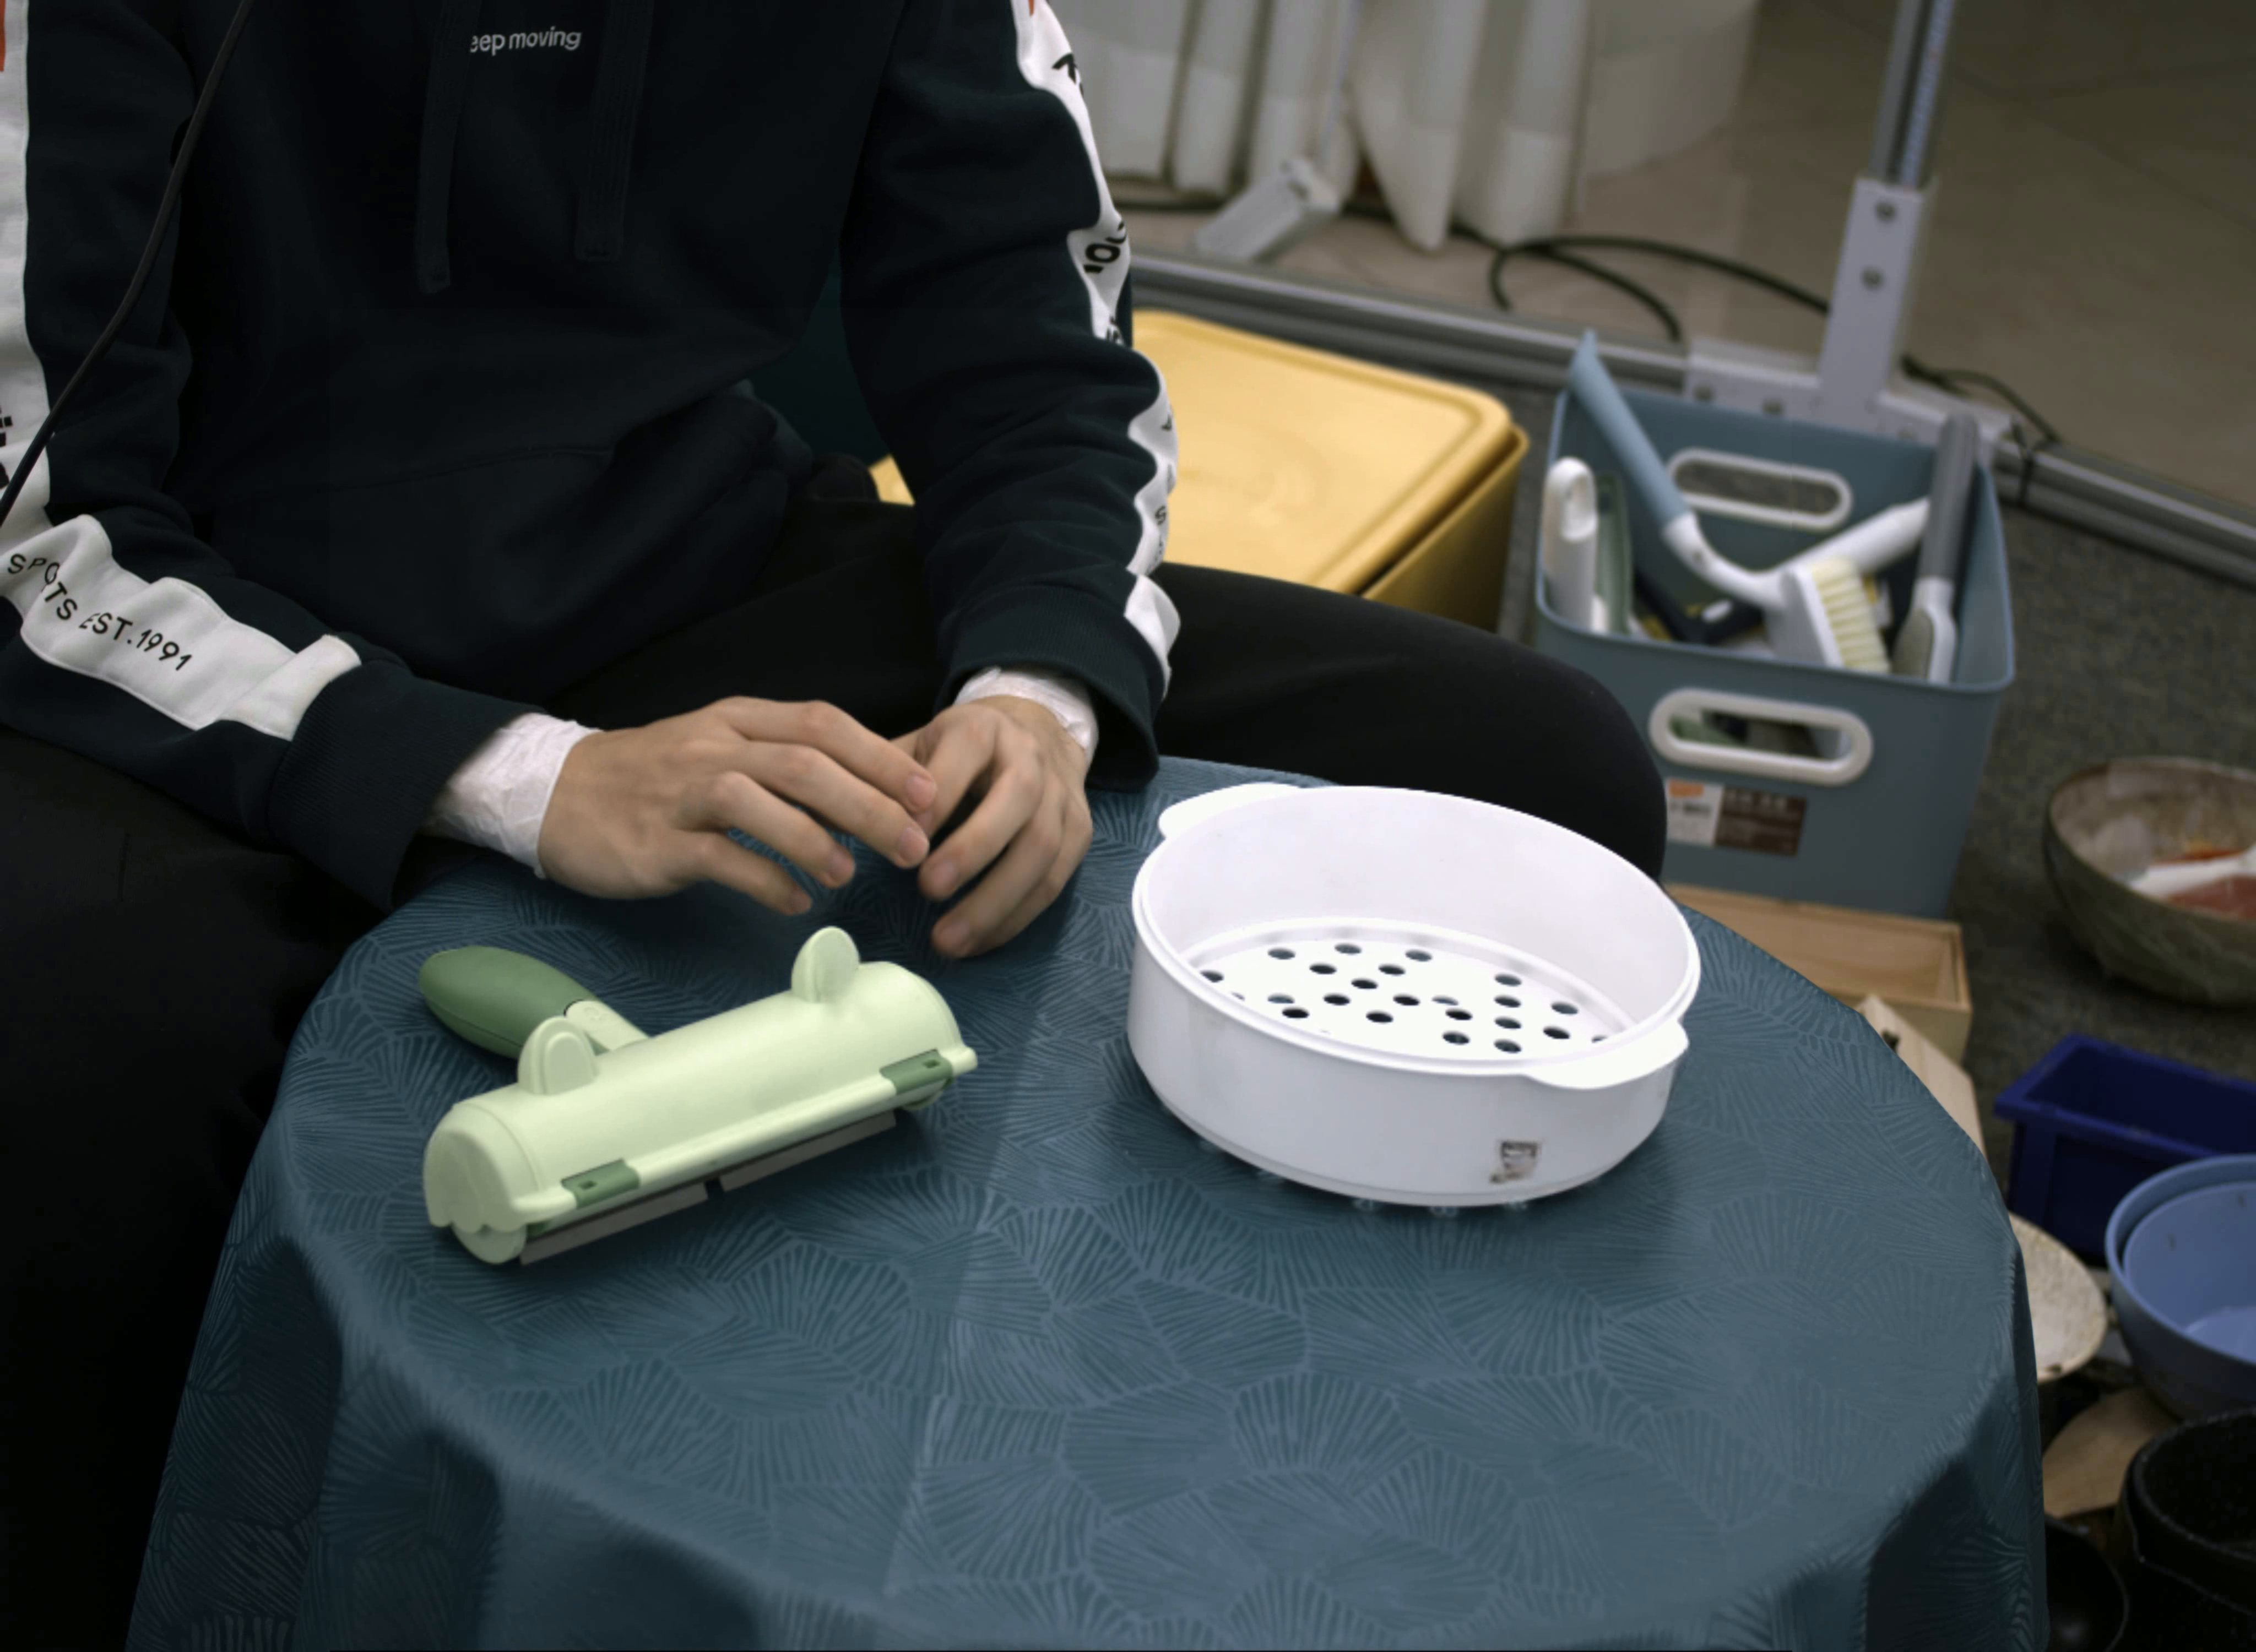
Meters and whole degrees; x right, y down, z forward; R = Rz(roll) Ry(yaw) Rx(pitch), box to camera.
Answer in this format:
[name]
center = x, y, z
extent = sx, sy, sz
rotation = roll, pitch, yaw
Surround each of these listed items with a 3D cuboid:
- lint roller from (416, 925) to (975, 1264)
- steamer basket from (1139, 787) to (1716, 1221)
[lint roller]
center = -0.179, 0.062, 1.794
extent = 0.197, 0.082, 0.185
rotation = -18, 40, -39
[steamer basket]
center = 0.102, 0.063, 1.865
extent = 0.201, 0.069, 0.232
rotation = -17, 36, -37
